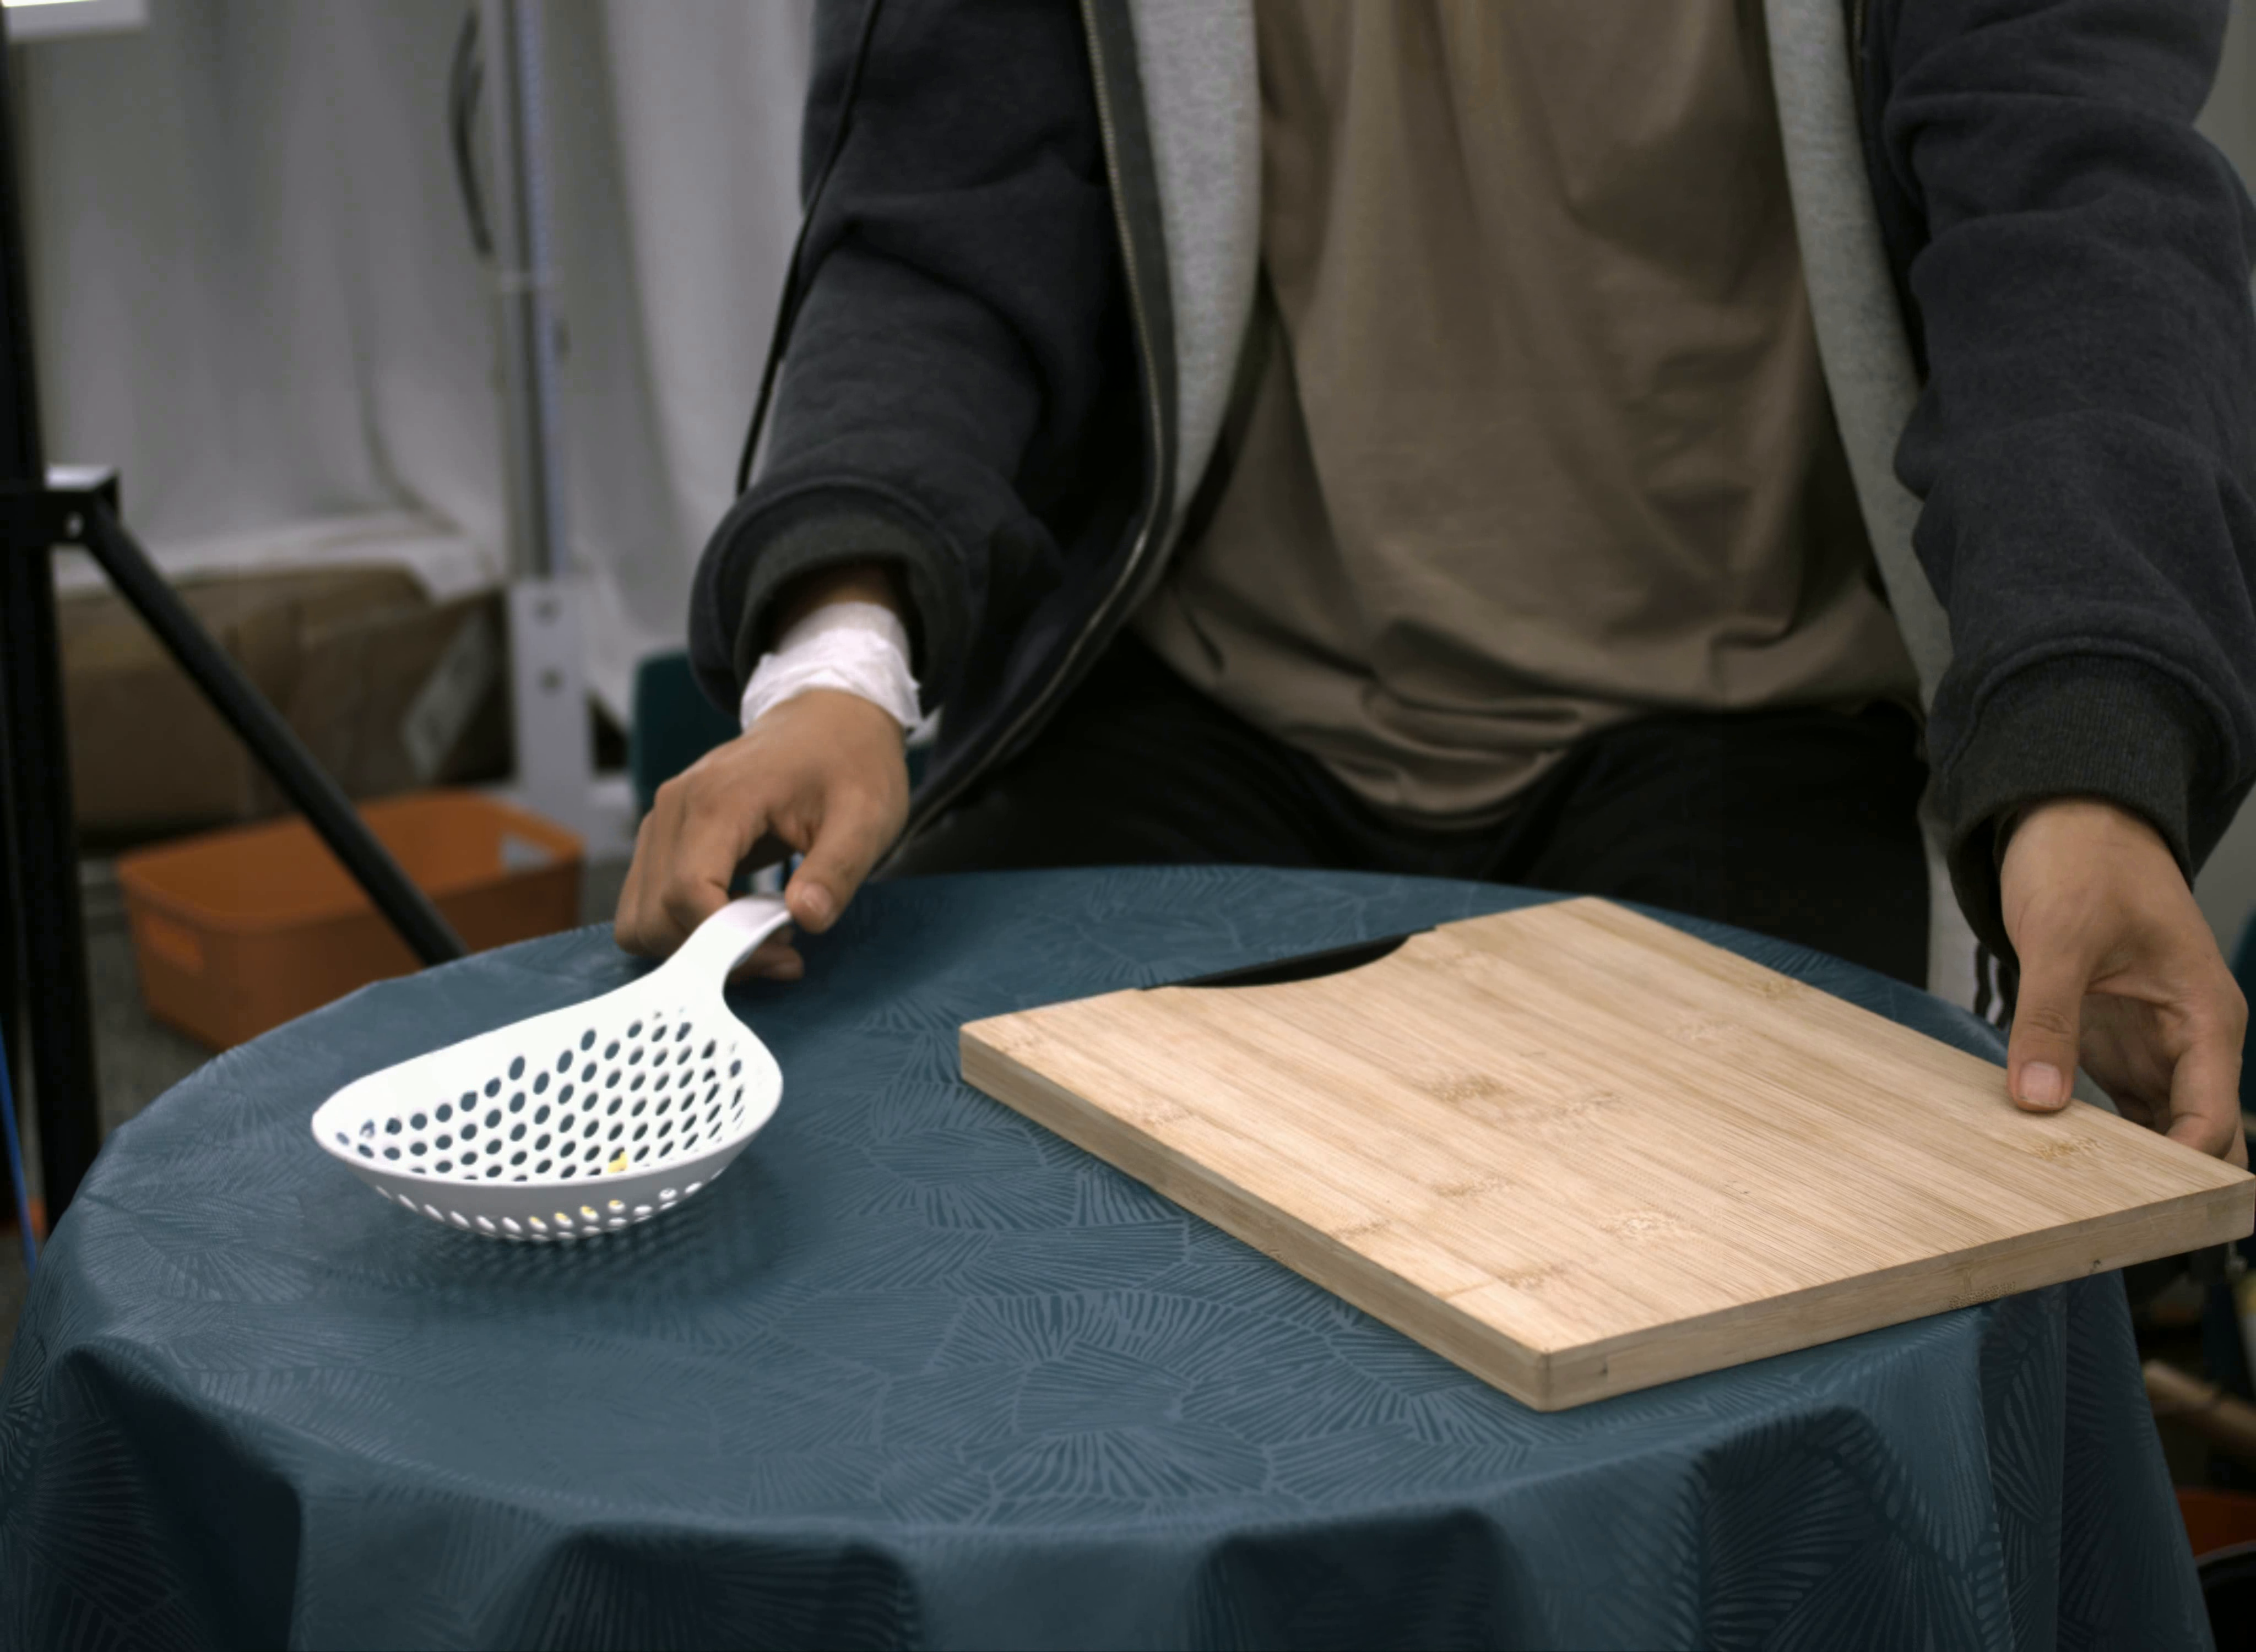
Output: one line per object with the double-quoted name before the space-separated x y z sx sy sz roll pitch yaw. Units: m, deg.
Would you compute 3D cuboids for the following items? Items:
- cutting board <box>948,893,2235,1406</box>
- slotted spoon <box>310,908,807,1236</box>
"cutting board" 0.129 0.089 1.576 0.245 0.023 0.356 -11 18 -27
"slotted spoon" -0.144 0.063 1.656 0.137 0.050 0.346 0 18 13
